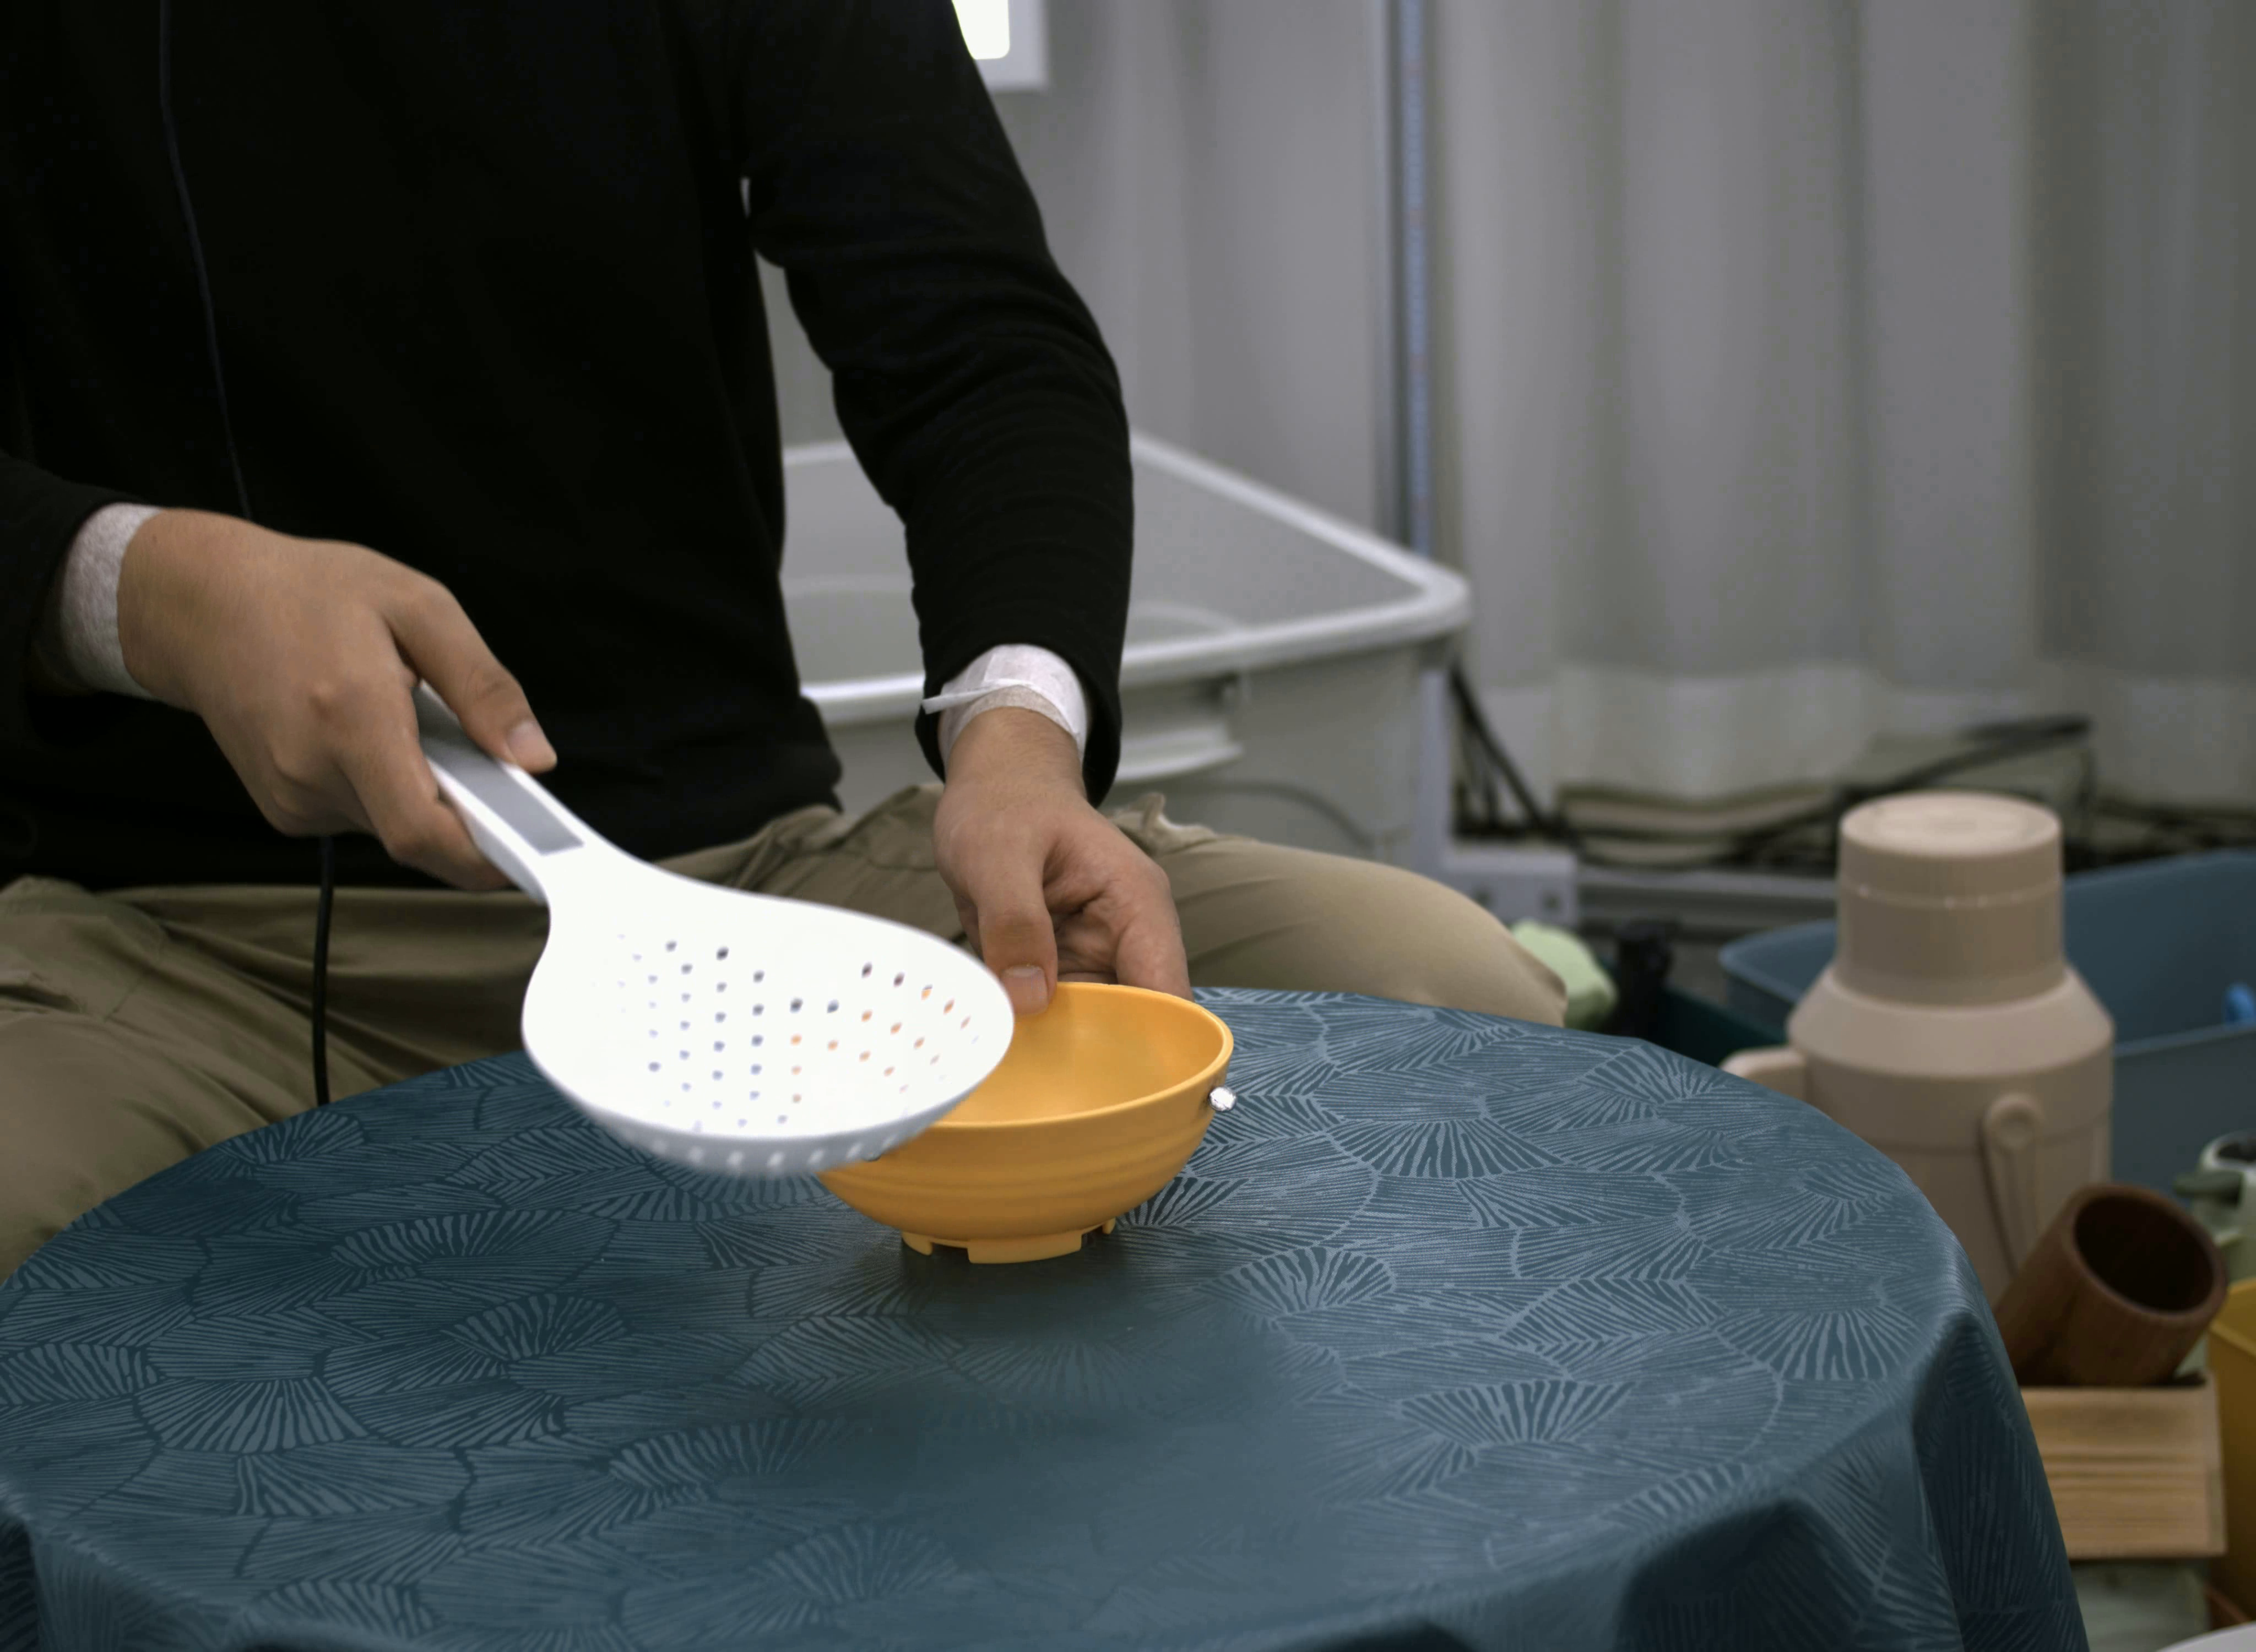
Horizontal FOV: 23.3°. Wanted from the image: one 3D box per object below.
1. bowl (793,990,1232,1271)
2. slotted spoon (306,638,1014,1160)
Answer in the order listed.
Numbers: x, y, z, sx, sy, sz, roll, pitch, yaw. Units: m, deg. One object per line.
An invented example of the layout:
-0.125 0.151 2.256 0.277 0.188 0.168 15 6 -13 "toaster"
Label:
-0.040 0.098 1.679 0.145 0.060 0.146 -1 14 0 "bowl"
-0.158 0.015 1.610 0.135 0.045 0.354 -14 34 -29 "slotted spoon"
